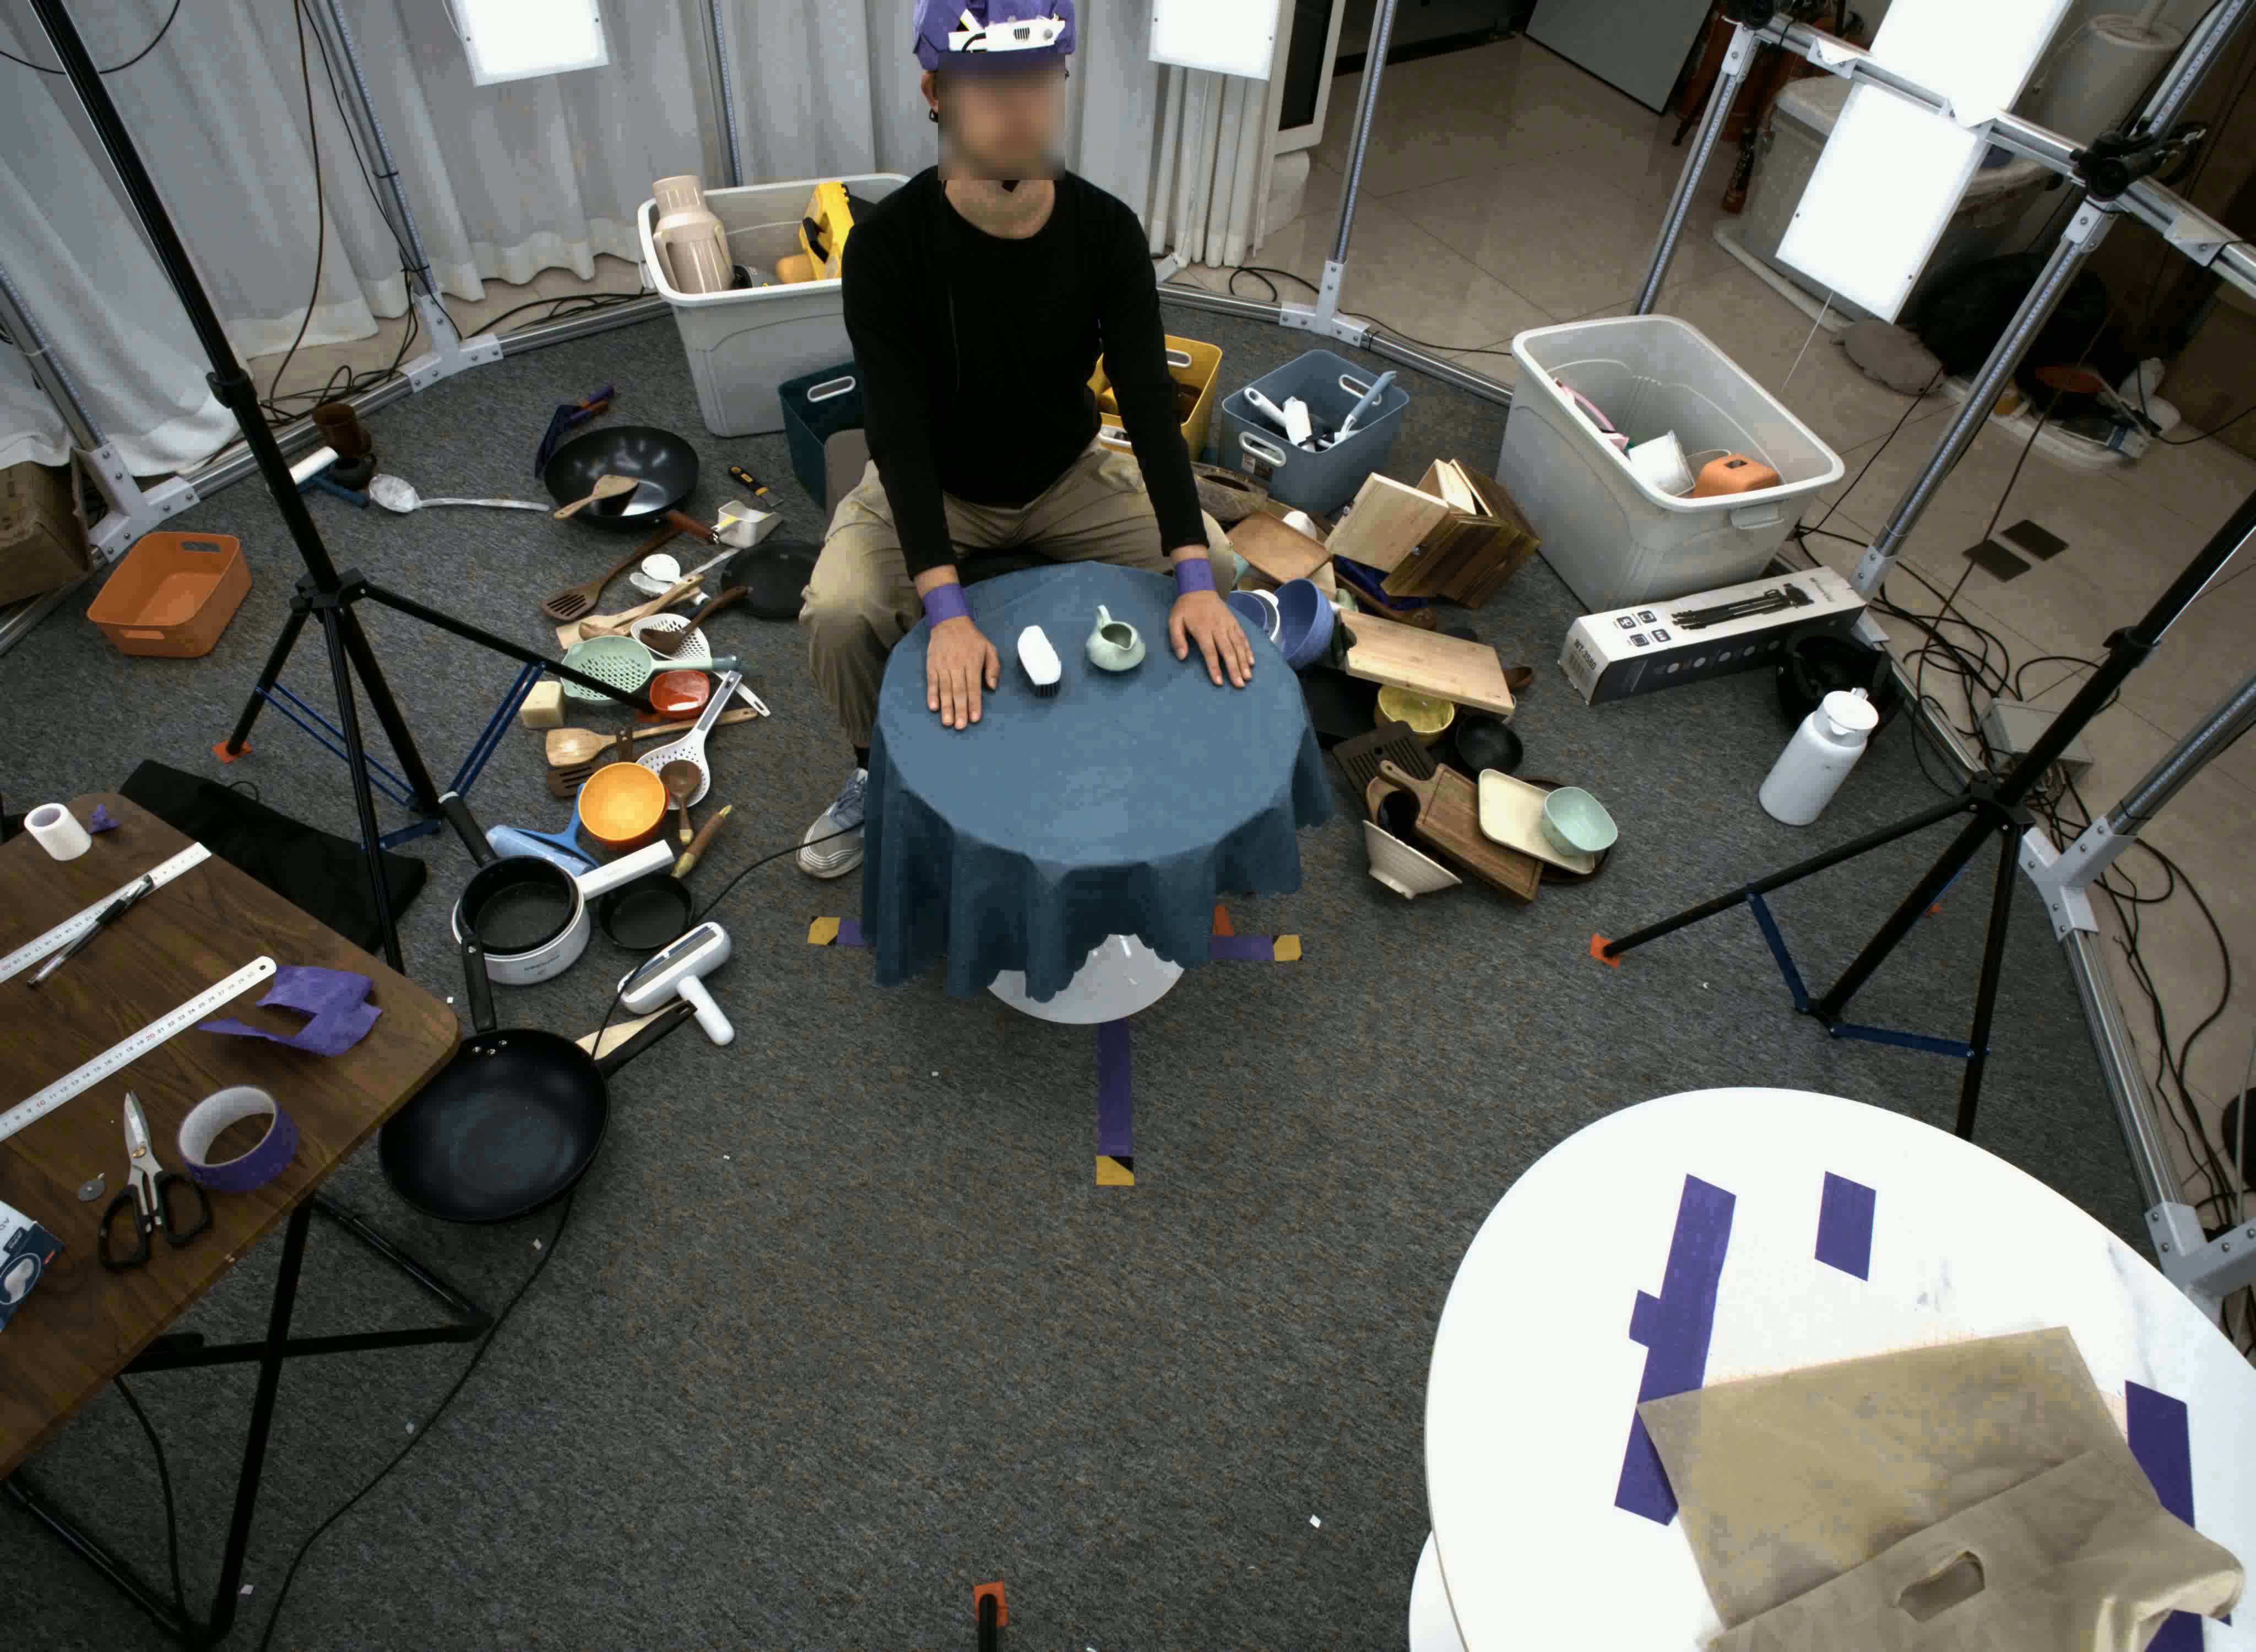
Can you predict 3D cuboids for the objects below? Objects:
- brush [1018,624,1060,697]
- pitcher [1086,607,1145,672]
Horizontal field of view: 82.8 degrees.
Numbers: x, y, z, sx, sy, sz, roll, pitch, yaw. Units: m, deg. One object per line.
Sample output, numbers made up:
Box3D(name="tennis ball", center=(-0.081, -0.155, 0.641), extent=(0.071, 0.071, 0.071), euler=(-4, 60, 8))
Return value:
Box3D(name="brush", center=(-0.126, -0.242, 1.819), extent=(0.050, 0.071, 0.101), euler=(-11, 52, -14))
Box3D(name="pitcher", center=(-0.023, -0.270, 1.864), extent=(0.086, 0.059, 0.110), euler=(-19, 50, -20))
